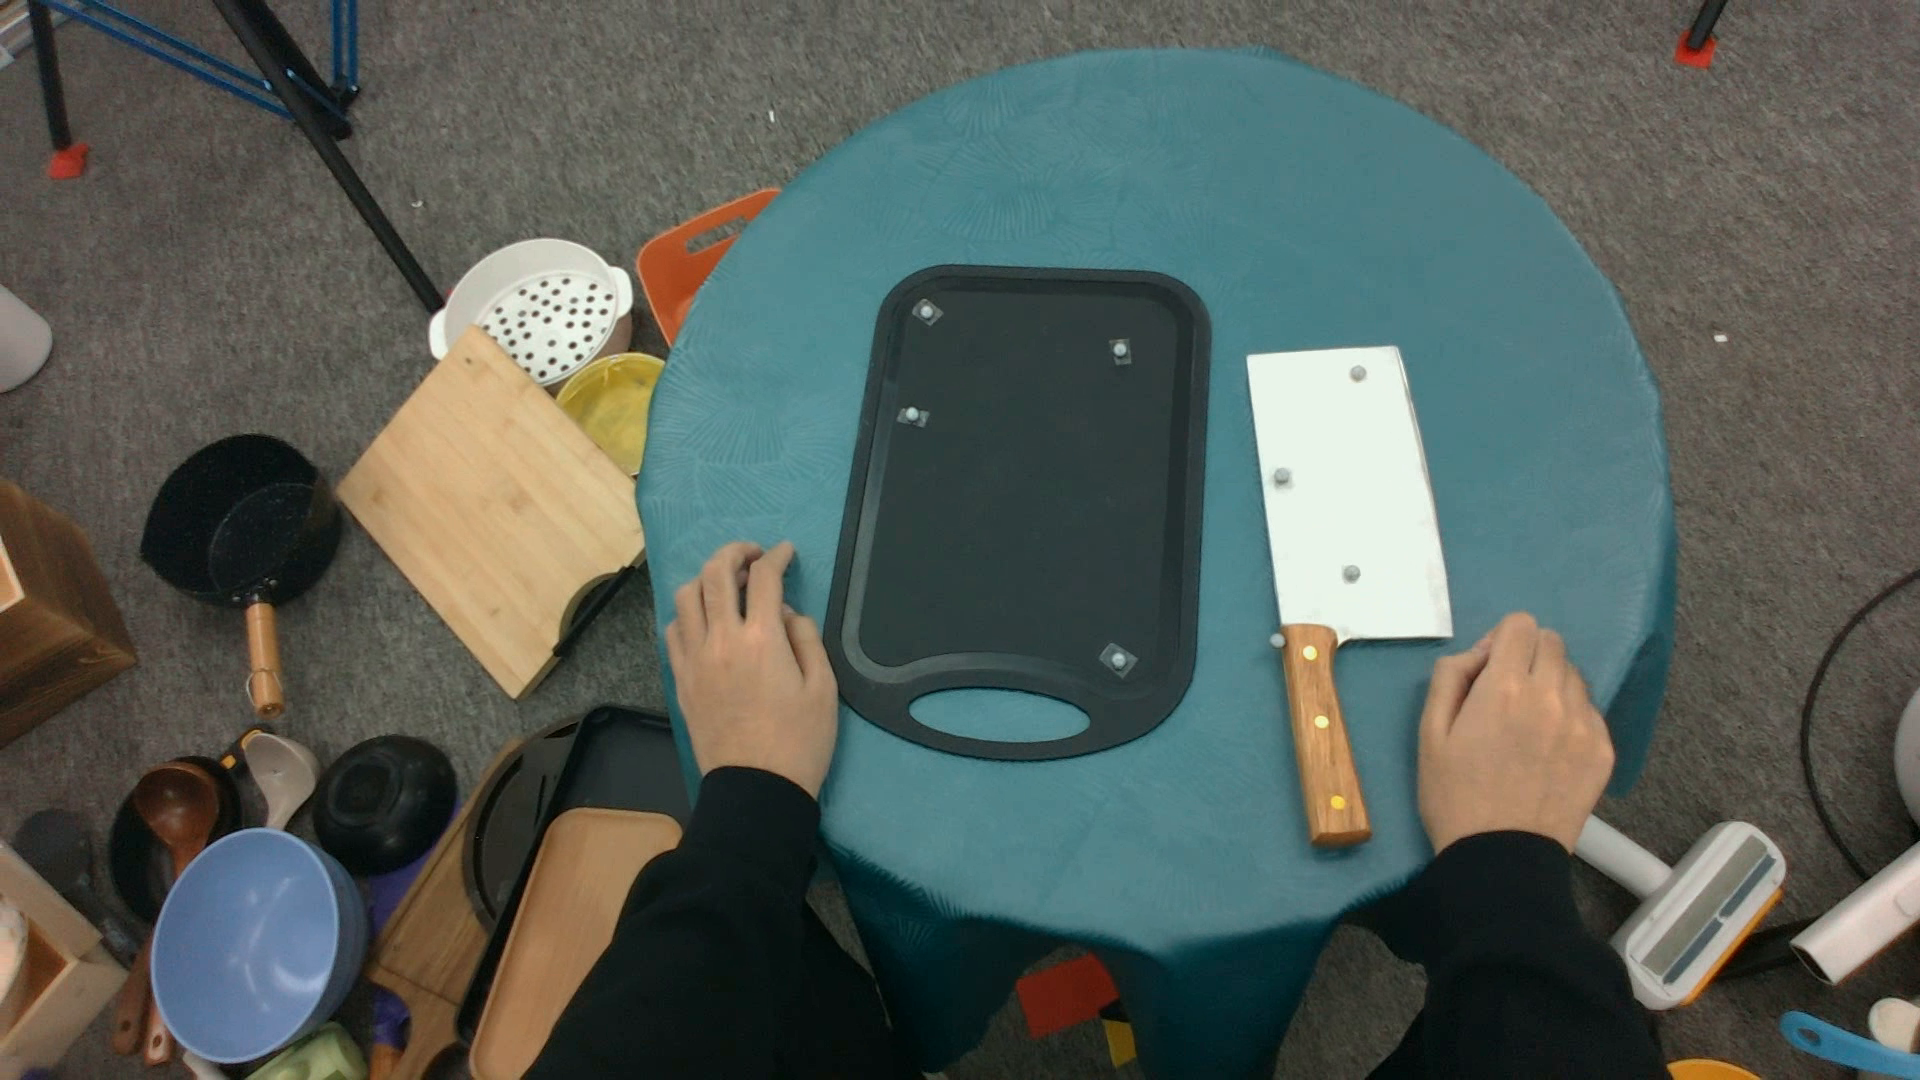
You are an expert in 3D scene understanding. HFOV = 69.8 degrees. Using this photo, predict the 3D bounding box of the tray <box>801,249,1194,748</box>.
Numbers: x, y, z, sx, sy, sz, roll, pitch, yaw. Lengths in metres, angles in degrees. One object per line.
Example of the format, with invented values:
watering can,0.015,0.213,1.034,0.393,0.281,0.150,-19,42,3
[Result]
tray,0.026,-0.036,0.802,0.211,0.010,0.326,4,65,8

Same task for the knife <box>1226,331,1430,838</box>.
knife,0.206,0.011,0.756,0.093,0.021,0.307,-3,62,3
